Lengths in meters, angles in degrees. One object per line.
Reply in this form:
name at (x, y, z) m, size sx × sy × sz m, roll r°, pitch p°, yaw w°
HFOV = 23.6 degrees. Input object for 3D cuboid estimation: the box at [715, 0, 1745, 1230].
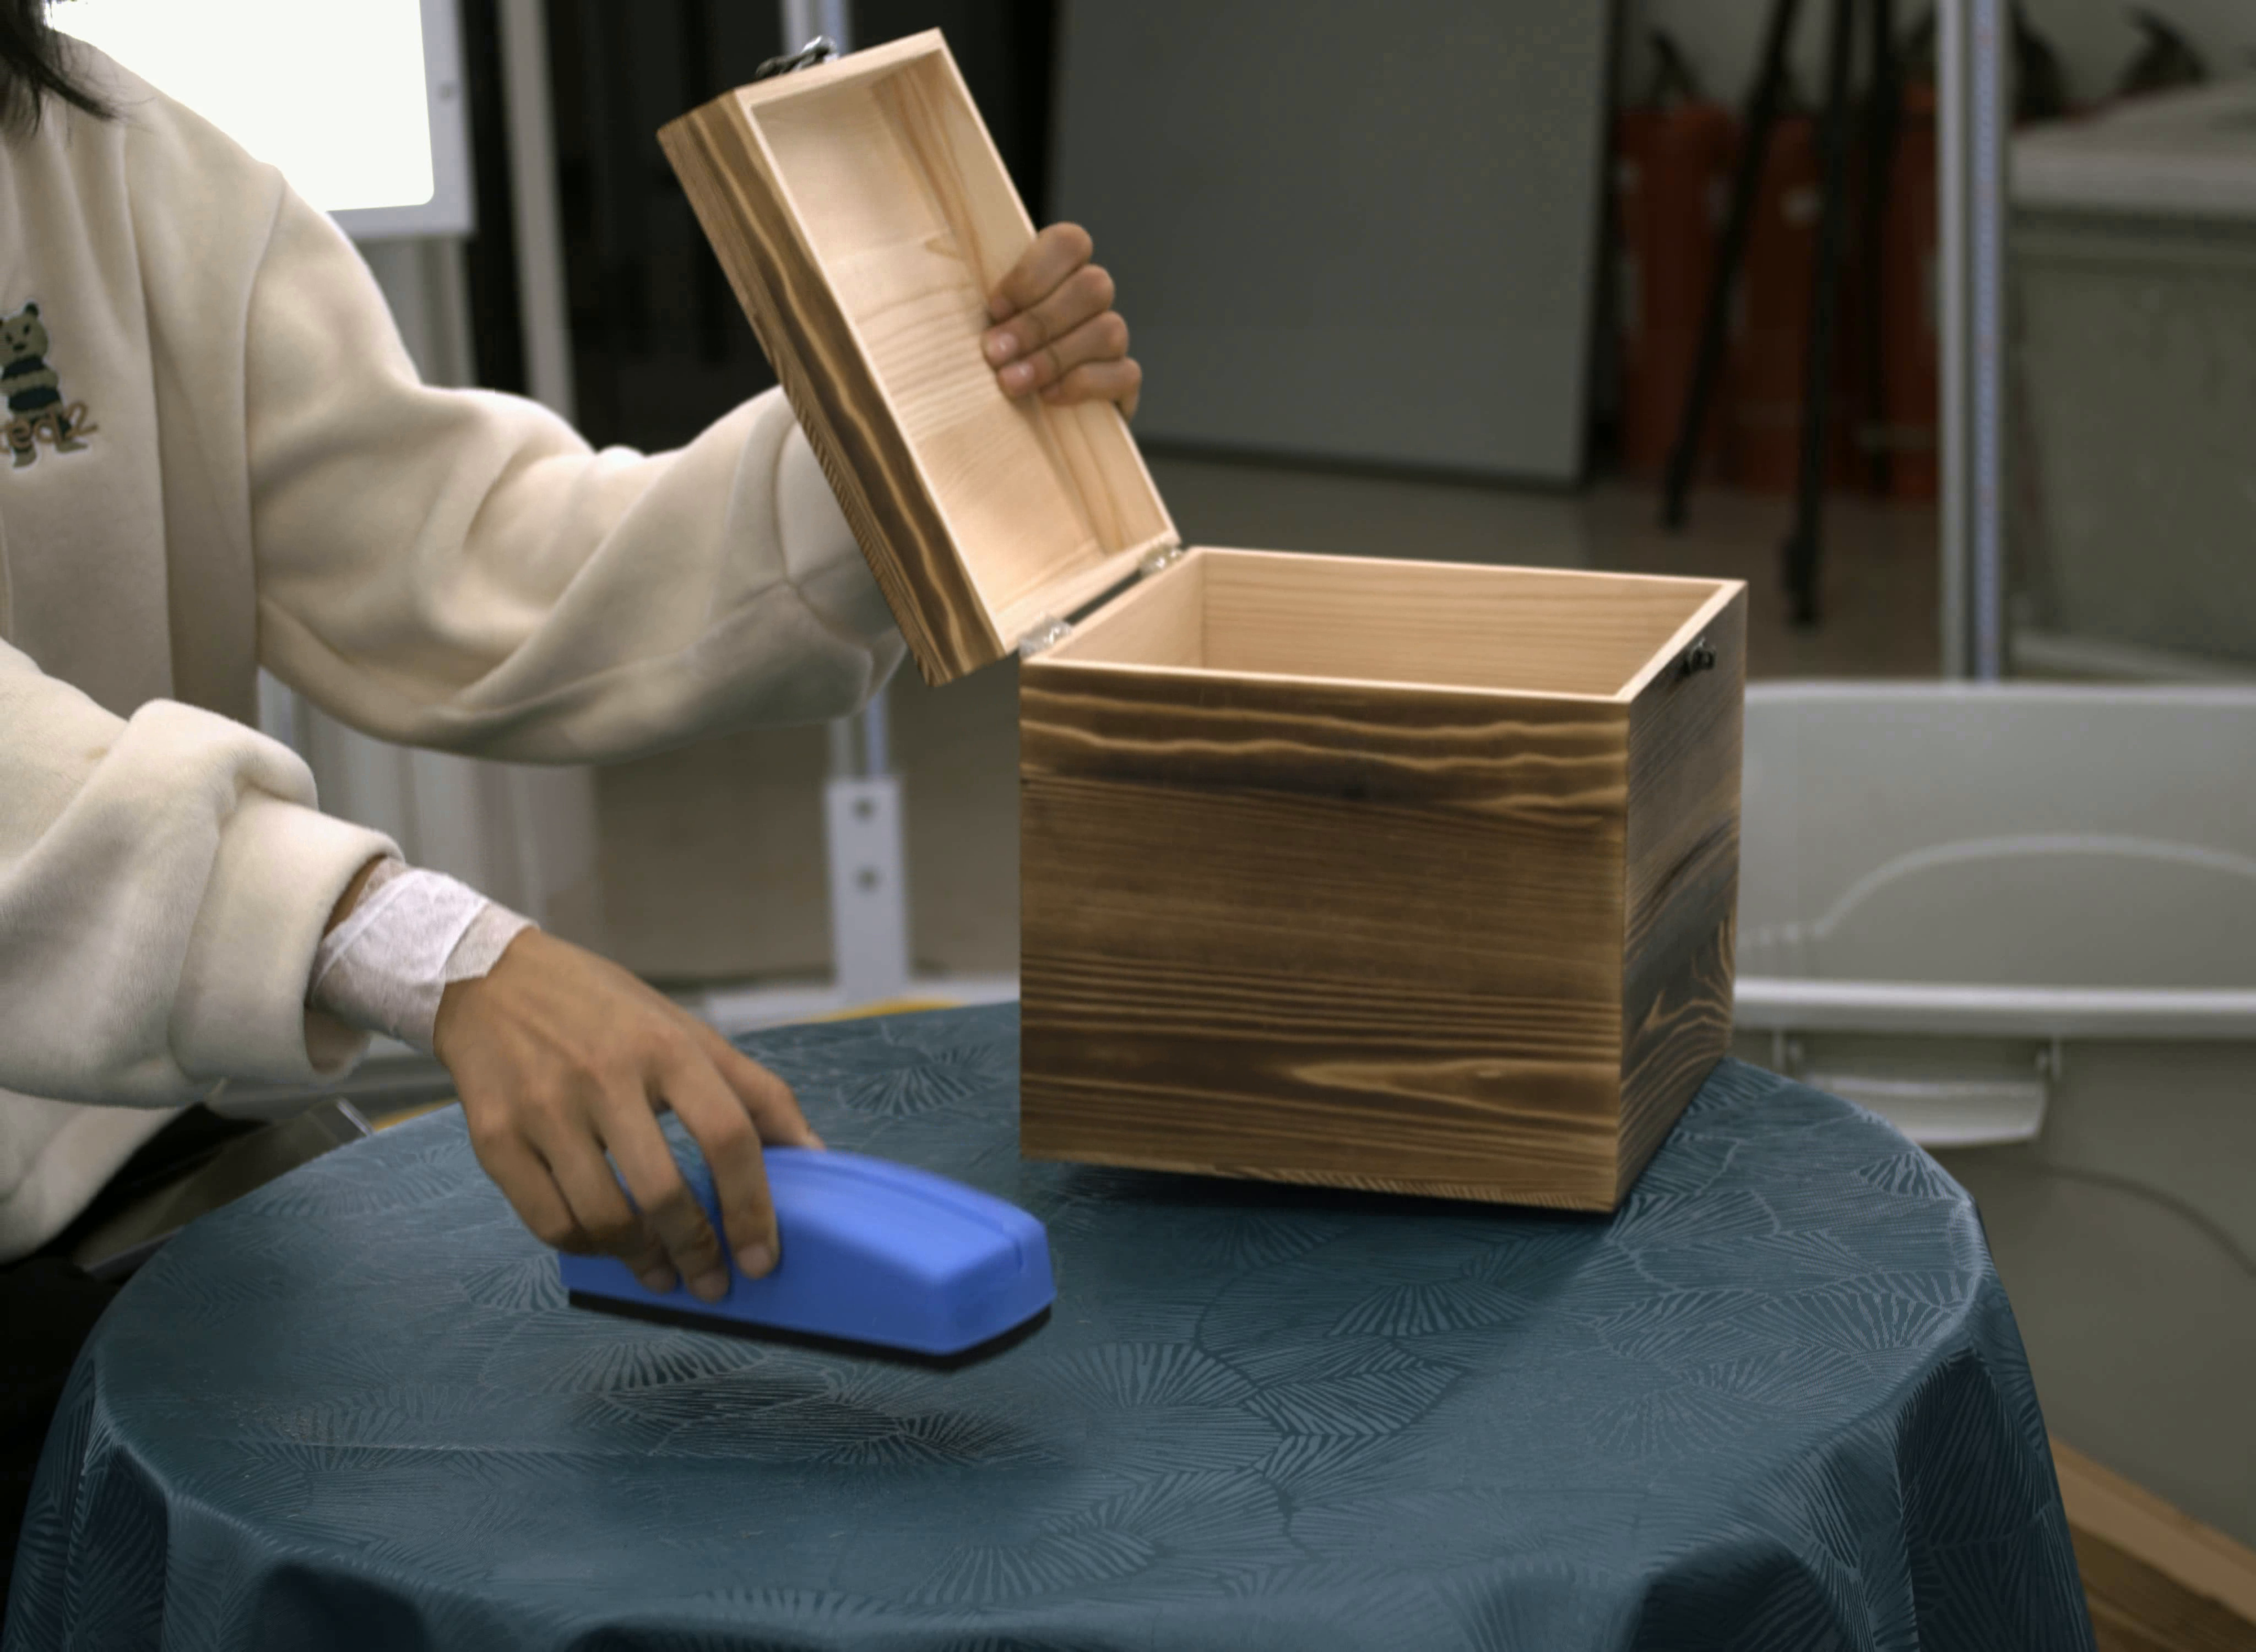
box at (0.038, -0.086, 1.793) m, size 0.321 × 0.380 × 0.207 m, roll 3°, pitch 14°, yaw 17°

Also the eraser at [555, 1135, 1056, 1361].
eraser at (-0.096, 0.119, 1.581) m, size 0.163 × 0.048 × 0.053 m, roll 4°, pitch 18°, yaw 39°
